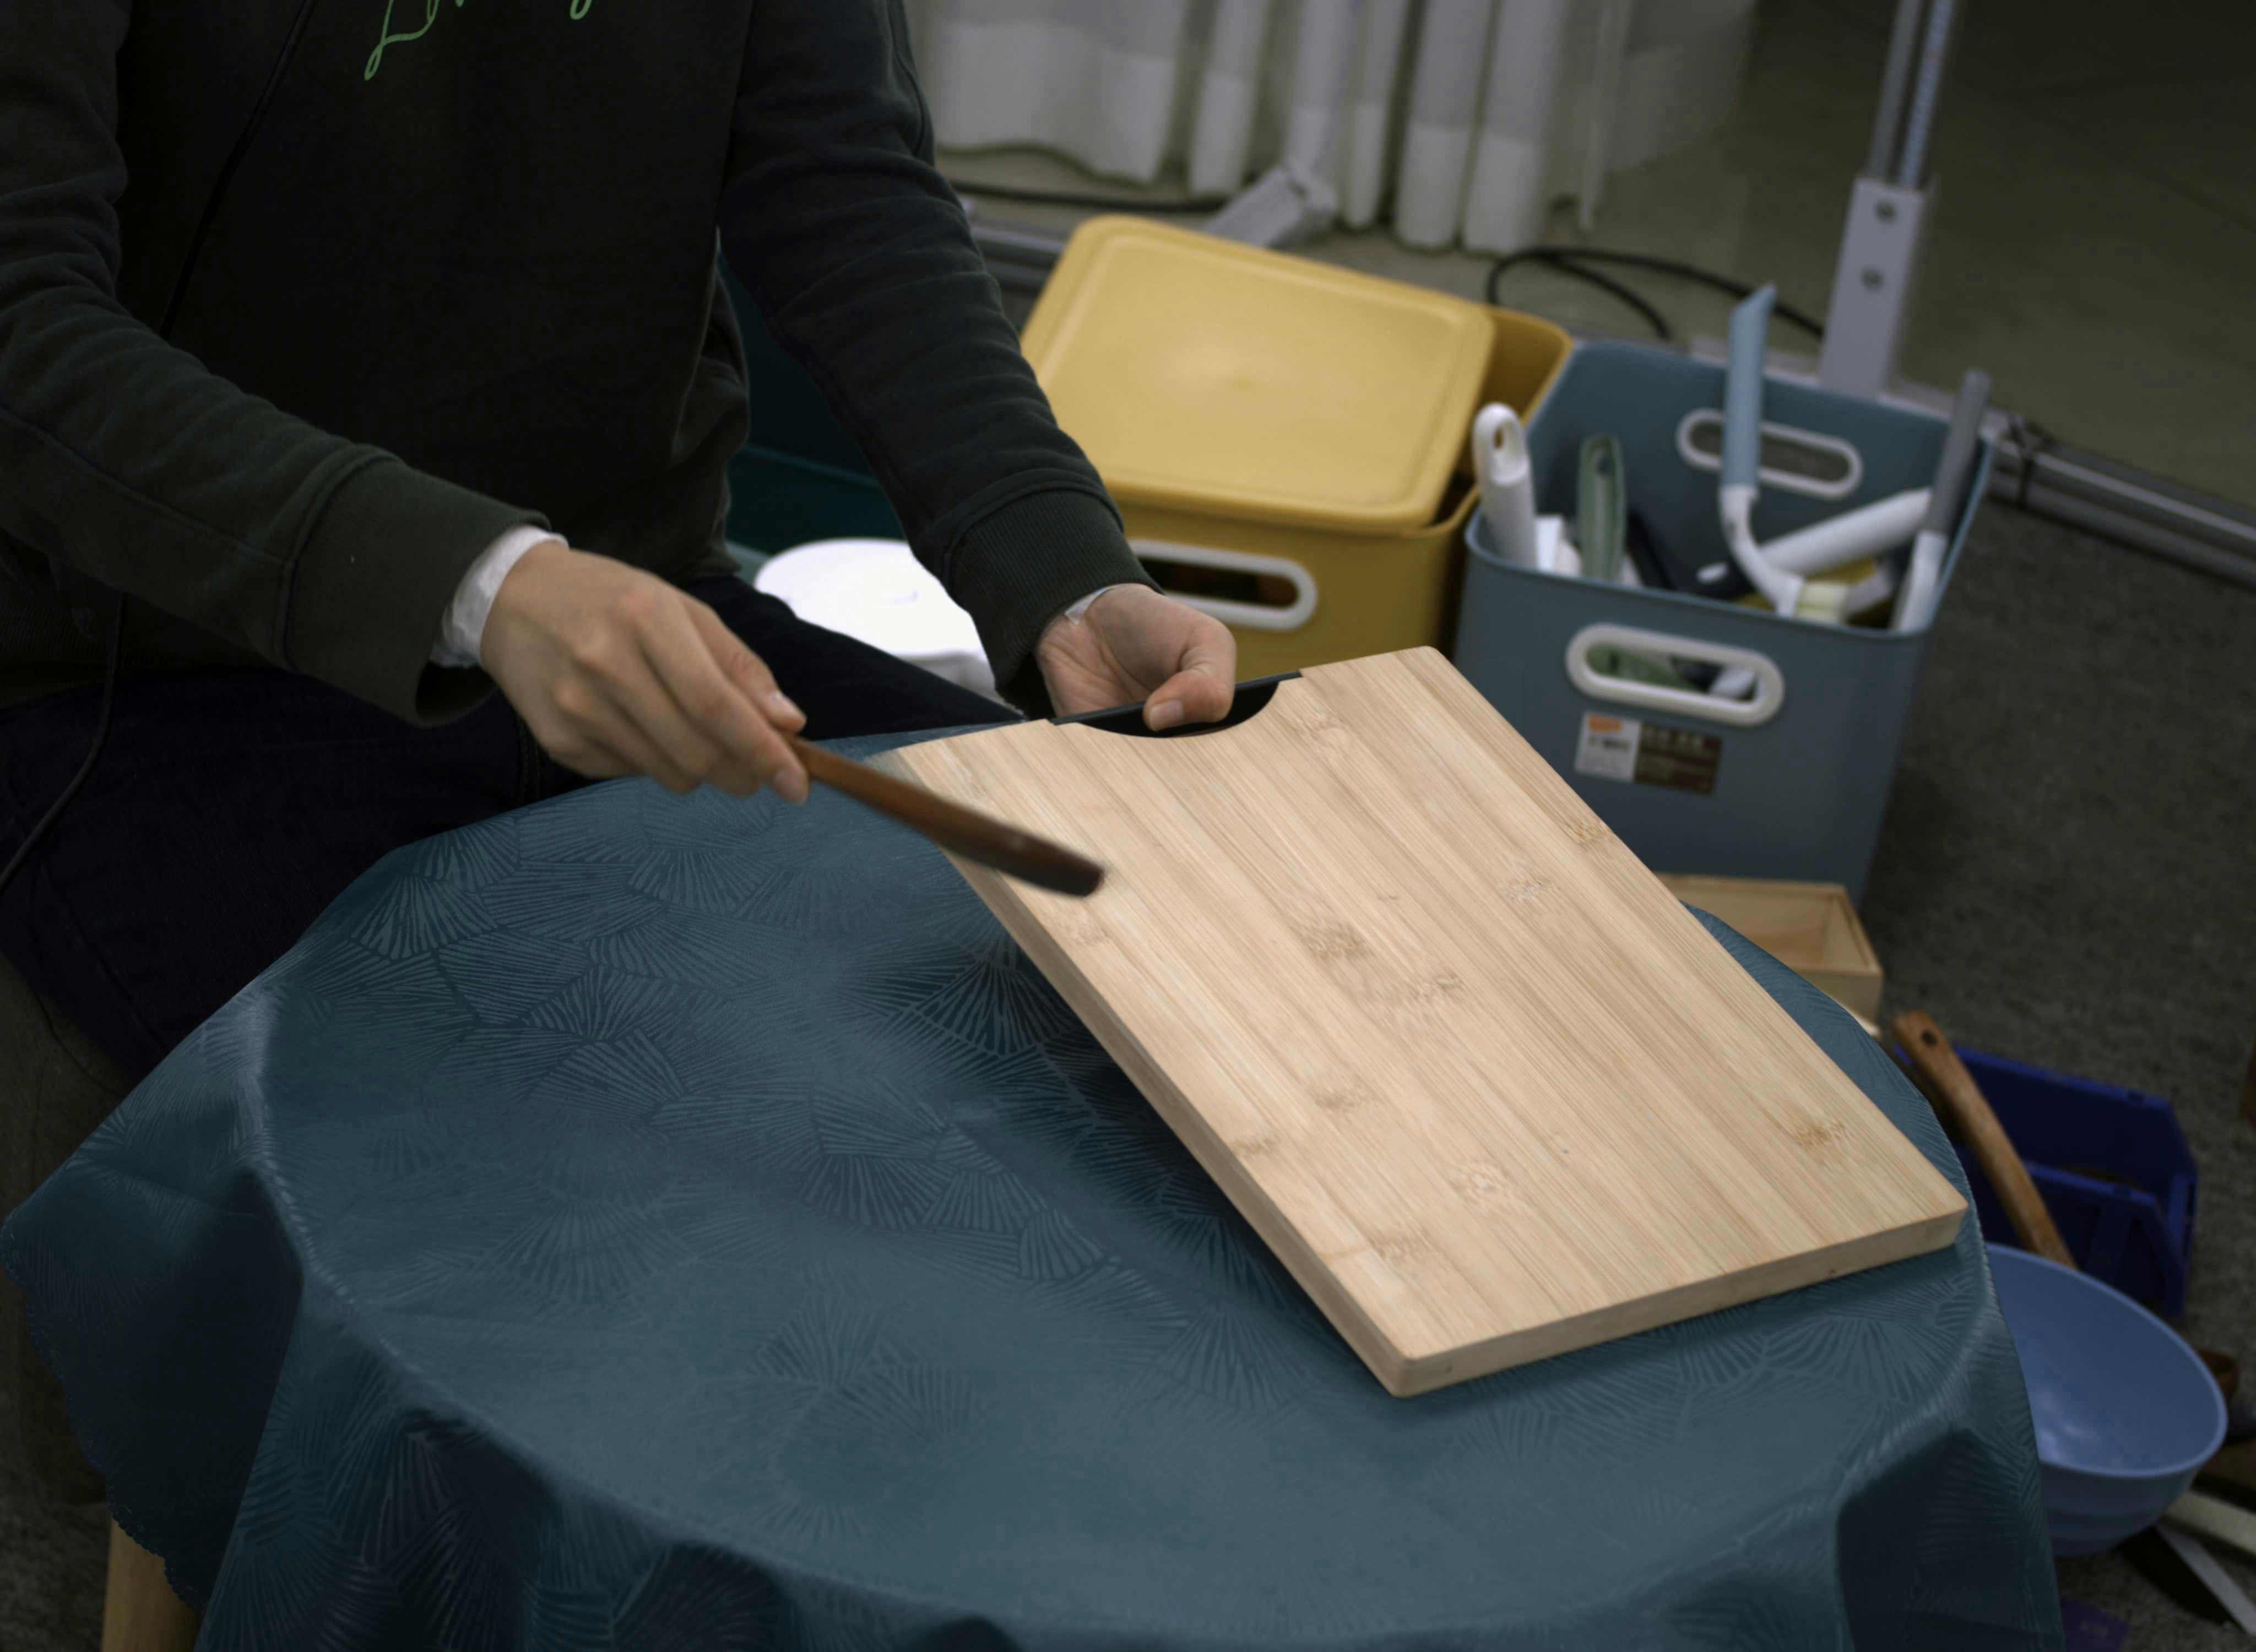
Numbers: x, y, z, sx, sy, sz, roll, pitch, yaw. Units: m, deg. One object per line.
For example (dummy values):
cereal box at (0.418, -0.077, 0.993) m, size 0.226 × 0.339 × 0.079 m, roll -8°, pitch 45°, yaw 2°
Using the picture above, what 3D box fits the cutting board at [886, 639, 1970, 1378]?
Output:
cutting board at (0.100, 0.055, 1.870) m, size 0.249 × 0.023 × 0.352 m, roll -11°, pitch 42°, yaw -32°

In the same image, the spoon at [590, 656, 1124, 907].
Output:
spoon at (-0.093, -0.013, 1.736) m, size 0.217 × 0.017 × 0.075 m, roll 24°, pitch 3°, yaw 32°
